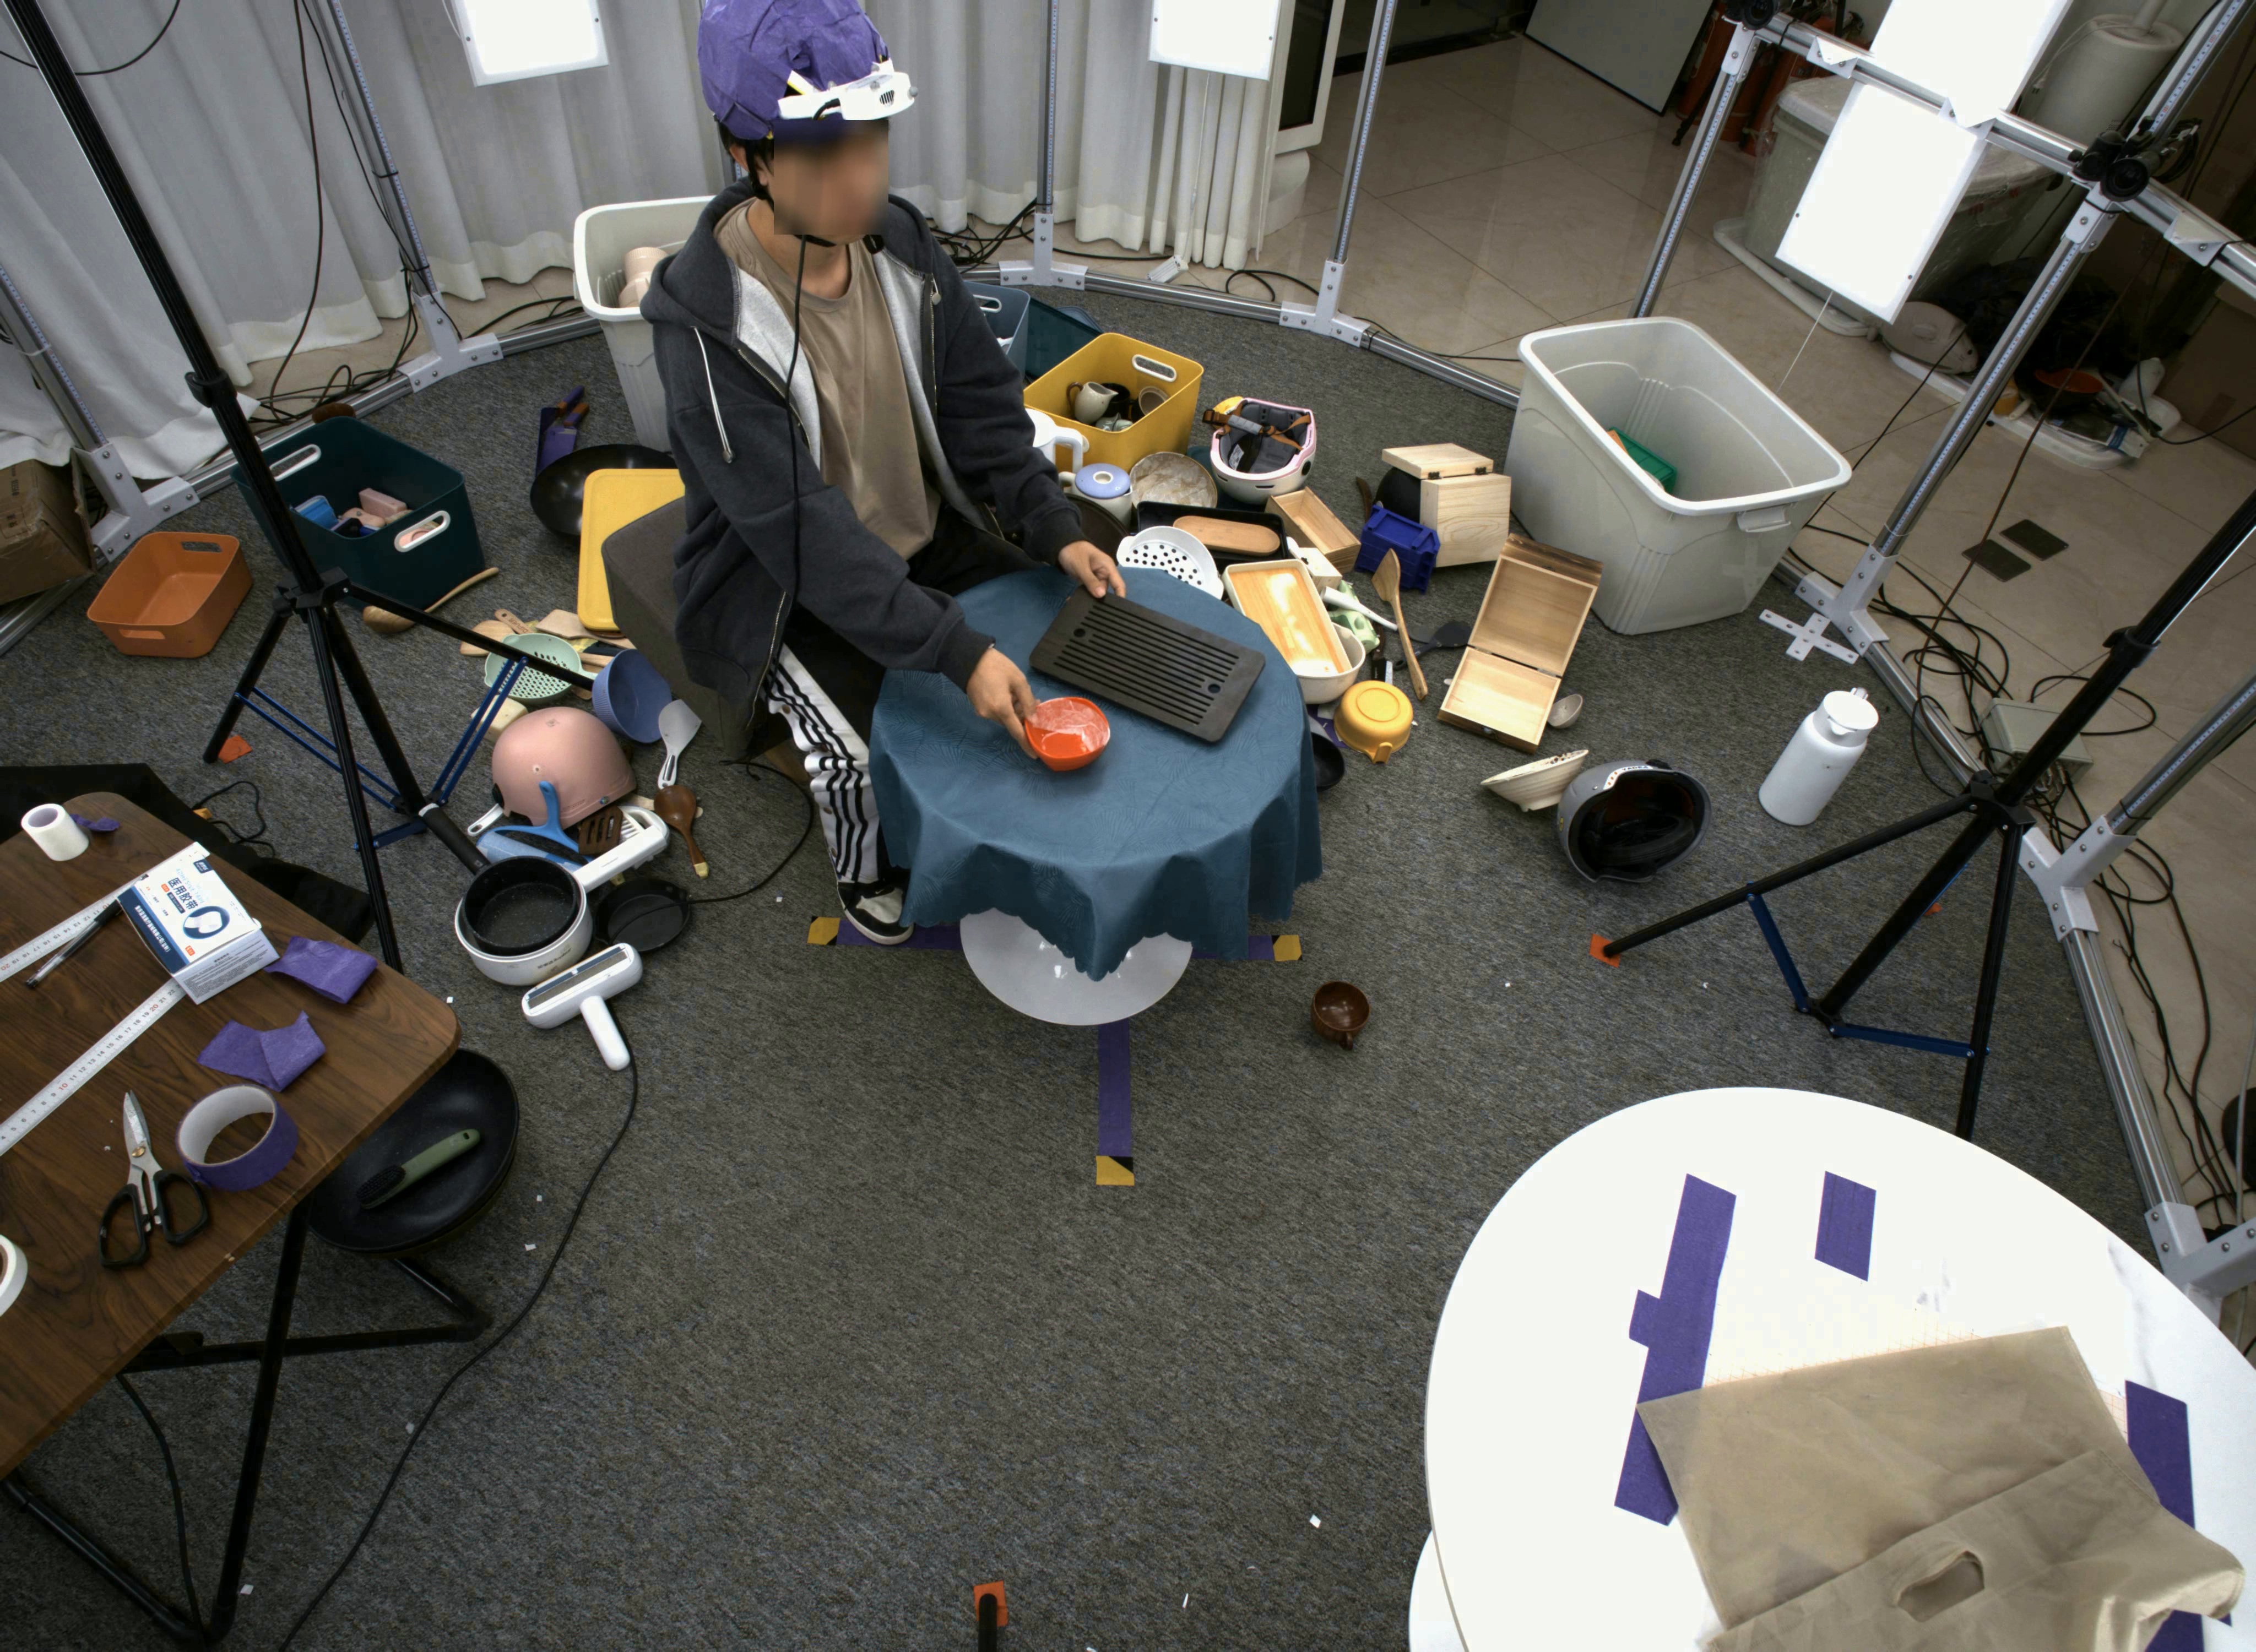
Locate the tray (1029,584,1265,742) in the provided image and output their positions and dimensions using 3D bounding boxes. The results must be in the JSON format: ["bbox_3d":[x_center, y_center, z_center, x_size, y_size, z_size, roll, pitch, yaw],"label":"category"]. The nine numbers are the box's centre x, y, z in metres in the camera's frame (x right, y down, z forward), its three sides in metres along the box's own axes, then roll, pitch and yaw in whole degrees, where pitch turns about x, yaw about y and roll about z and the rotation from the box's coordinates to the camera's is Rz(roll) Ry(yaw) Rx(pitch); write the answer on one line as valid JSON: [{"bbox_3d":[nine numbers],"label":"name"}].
[{"bbox_3d":[0.028,-0.236,1.841,0.308,0.018,0.173,24,62,16],"label":"tray"}]

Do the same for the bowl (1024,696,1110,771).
[{"bbox_3d":[-0.082,-0.119,1.728,0.119,0.050,0.122,2,50,-2],"label":"bowl"}]
